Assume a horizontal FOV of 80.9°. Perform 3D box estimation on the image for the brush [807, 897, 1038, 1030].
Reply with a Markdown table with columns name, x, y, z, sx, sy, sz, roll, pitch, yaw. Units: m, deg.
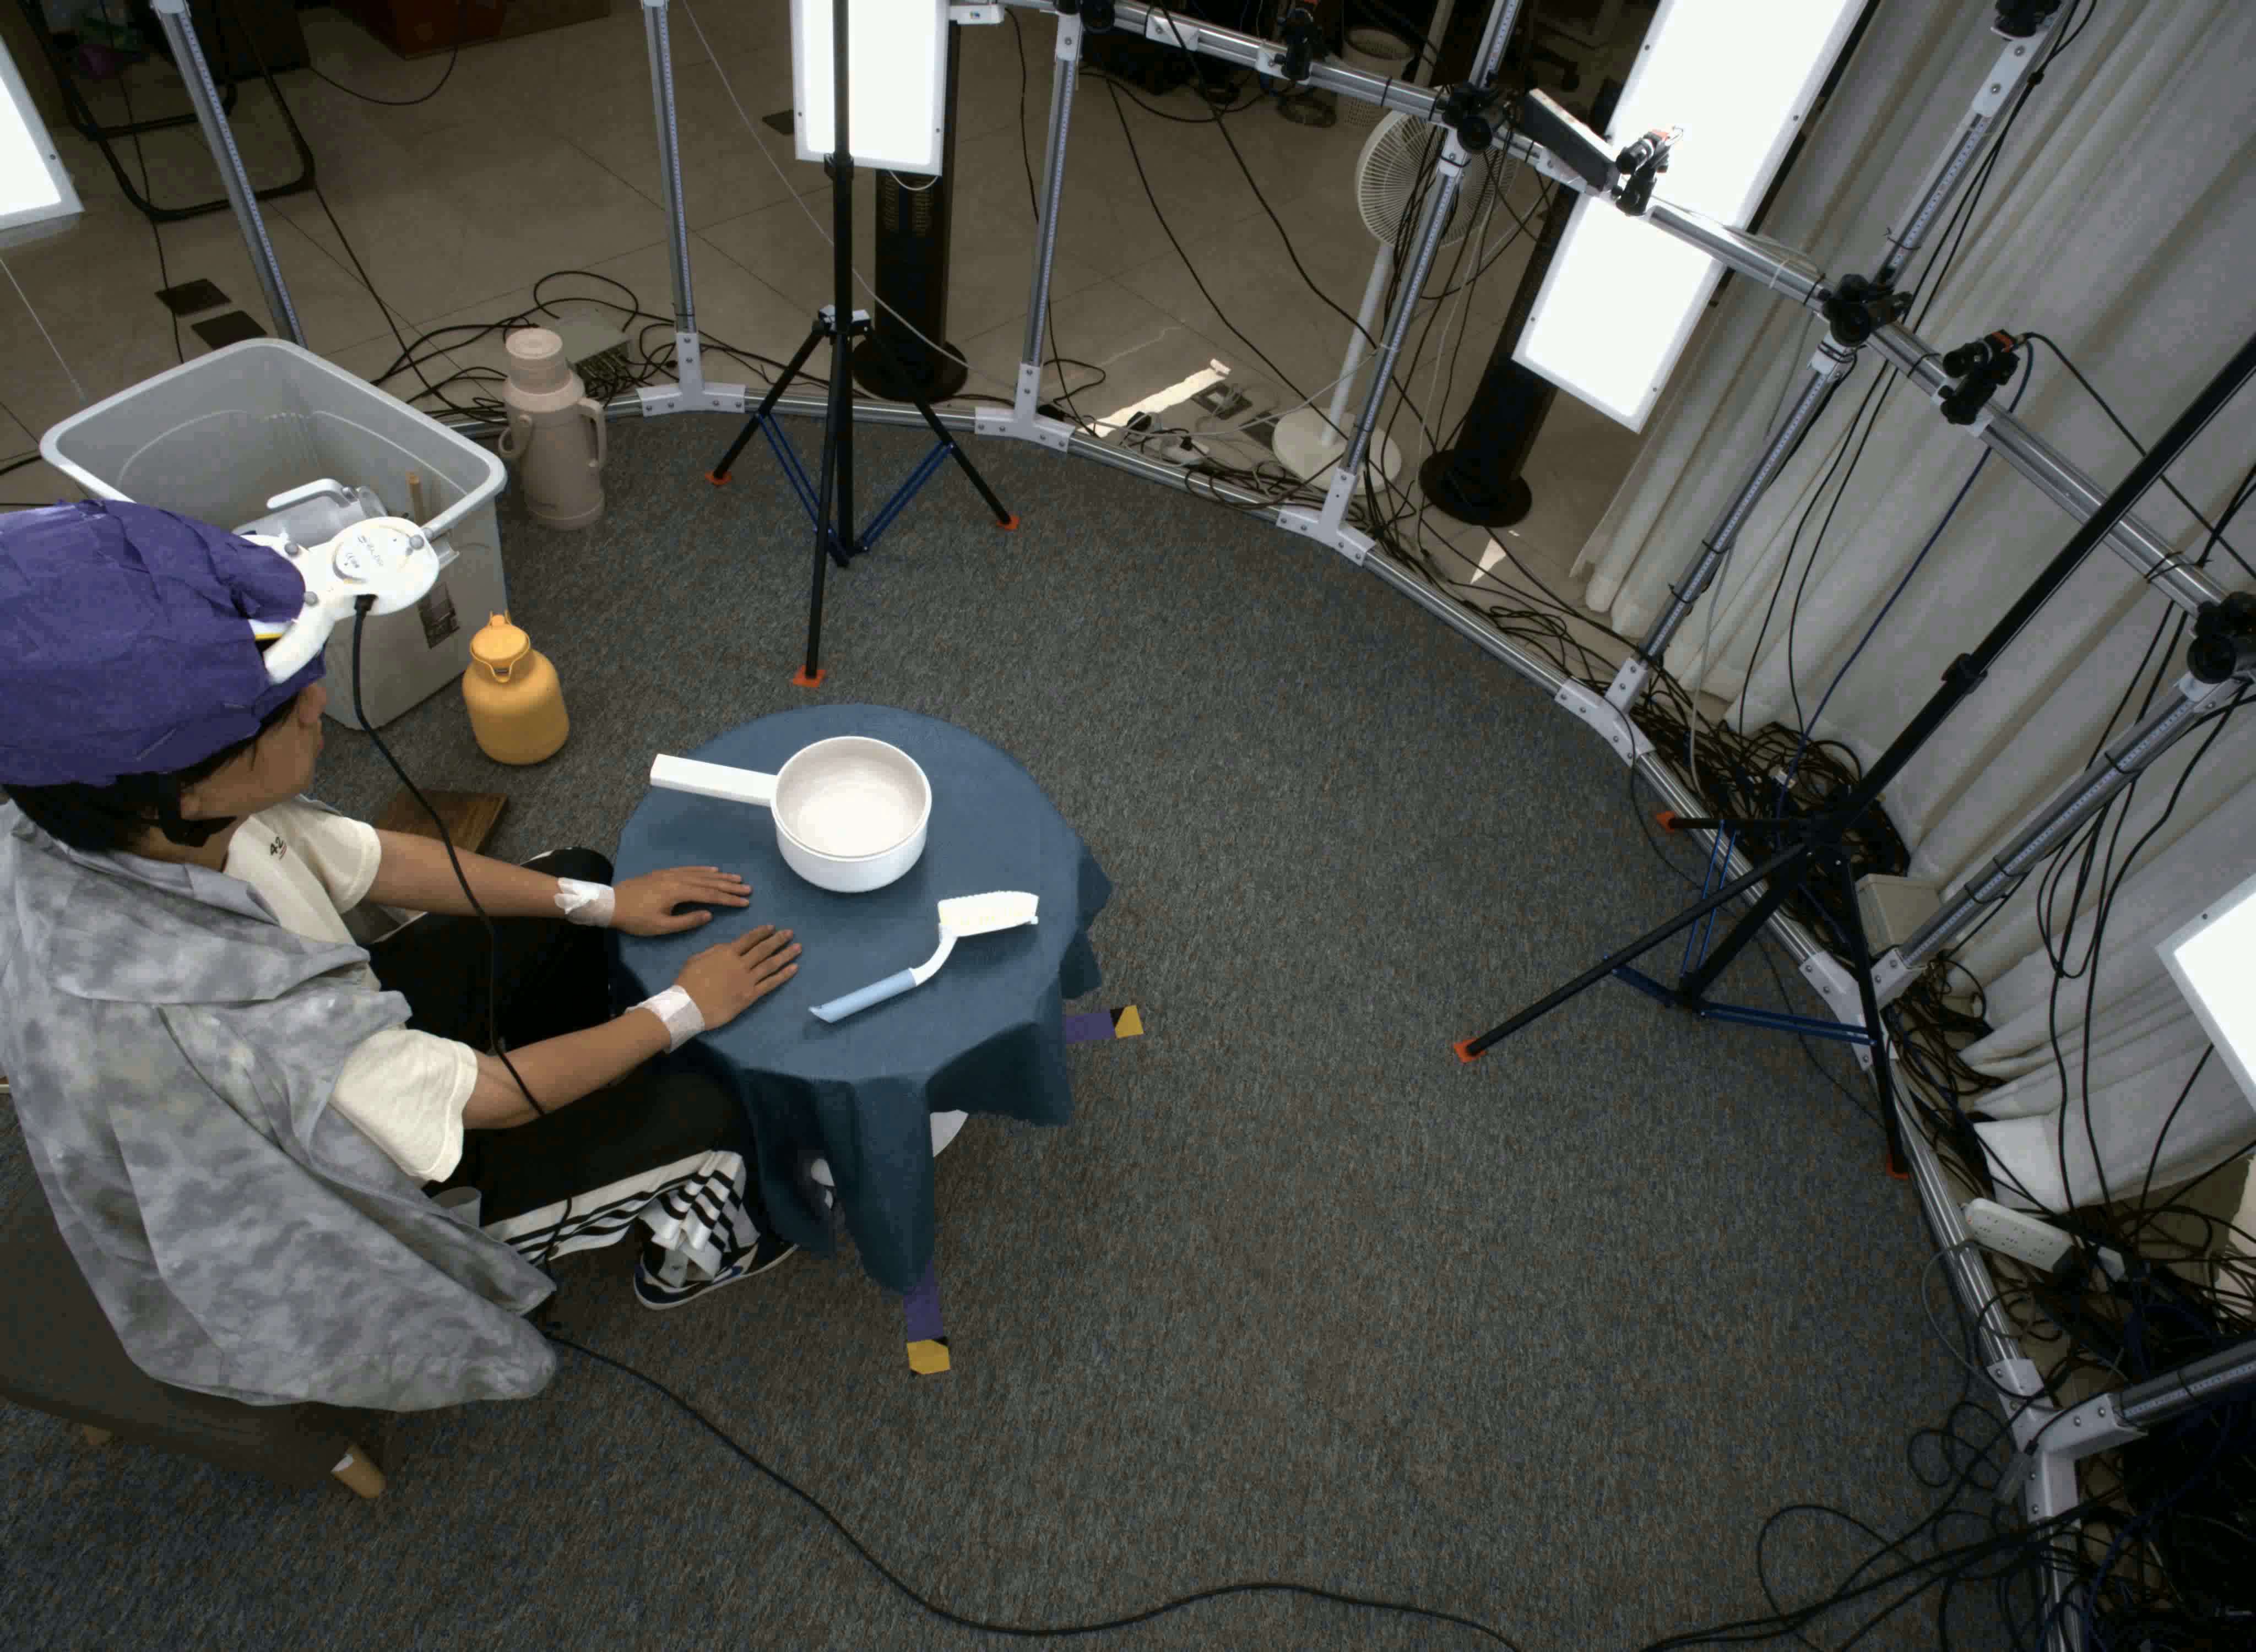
| name | x | y | z | sx | sy | sz | roll | pitch | yaw |
| --- | --- | --- | --- | --- | --- | --- | --- | --- | --- |
| brush | -0.253 | 0.145 | 1.607 | 0.327 | 0.084 | 0.083 | -22 | 68 | -28 |

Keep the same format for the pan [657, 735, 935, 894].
| name | x | y | z | sx | sy | sz | roll | pitch | yaw |
| --- | --- | --- | --- | --- | --- | --- | --- | --- | --- |
| pan | -0.428 | -0.024 | 1.677 | 0.353 | 0.104 | 0.198 | 10 | 52 | -6 |
